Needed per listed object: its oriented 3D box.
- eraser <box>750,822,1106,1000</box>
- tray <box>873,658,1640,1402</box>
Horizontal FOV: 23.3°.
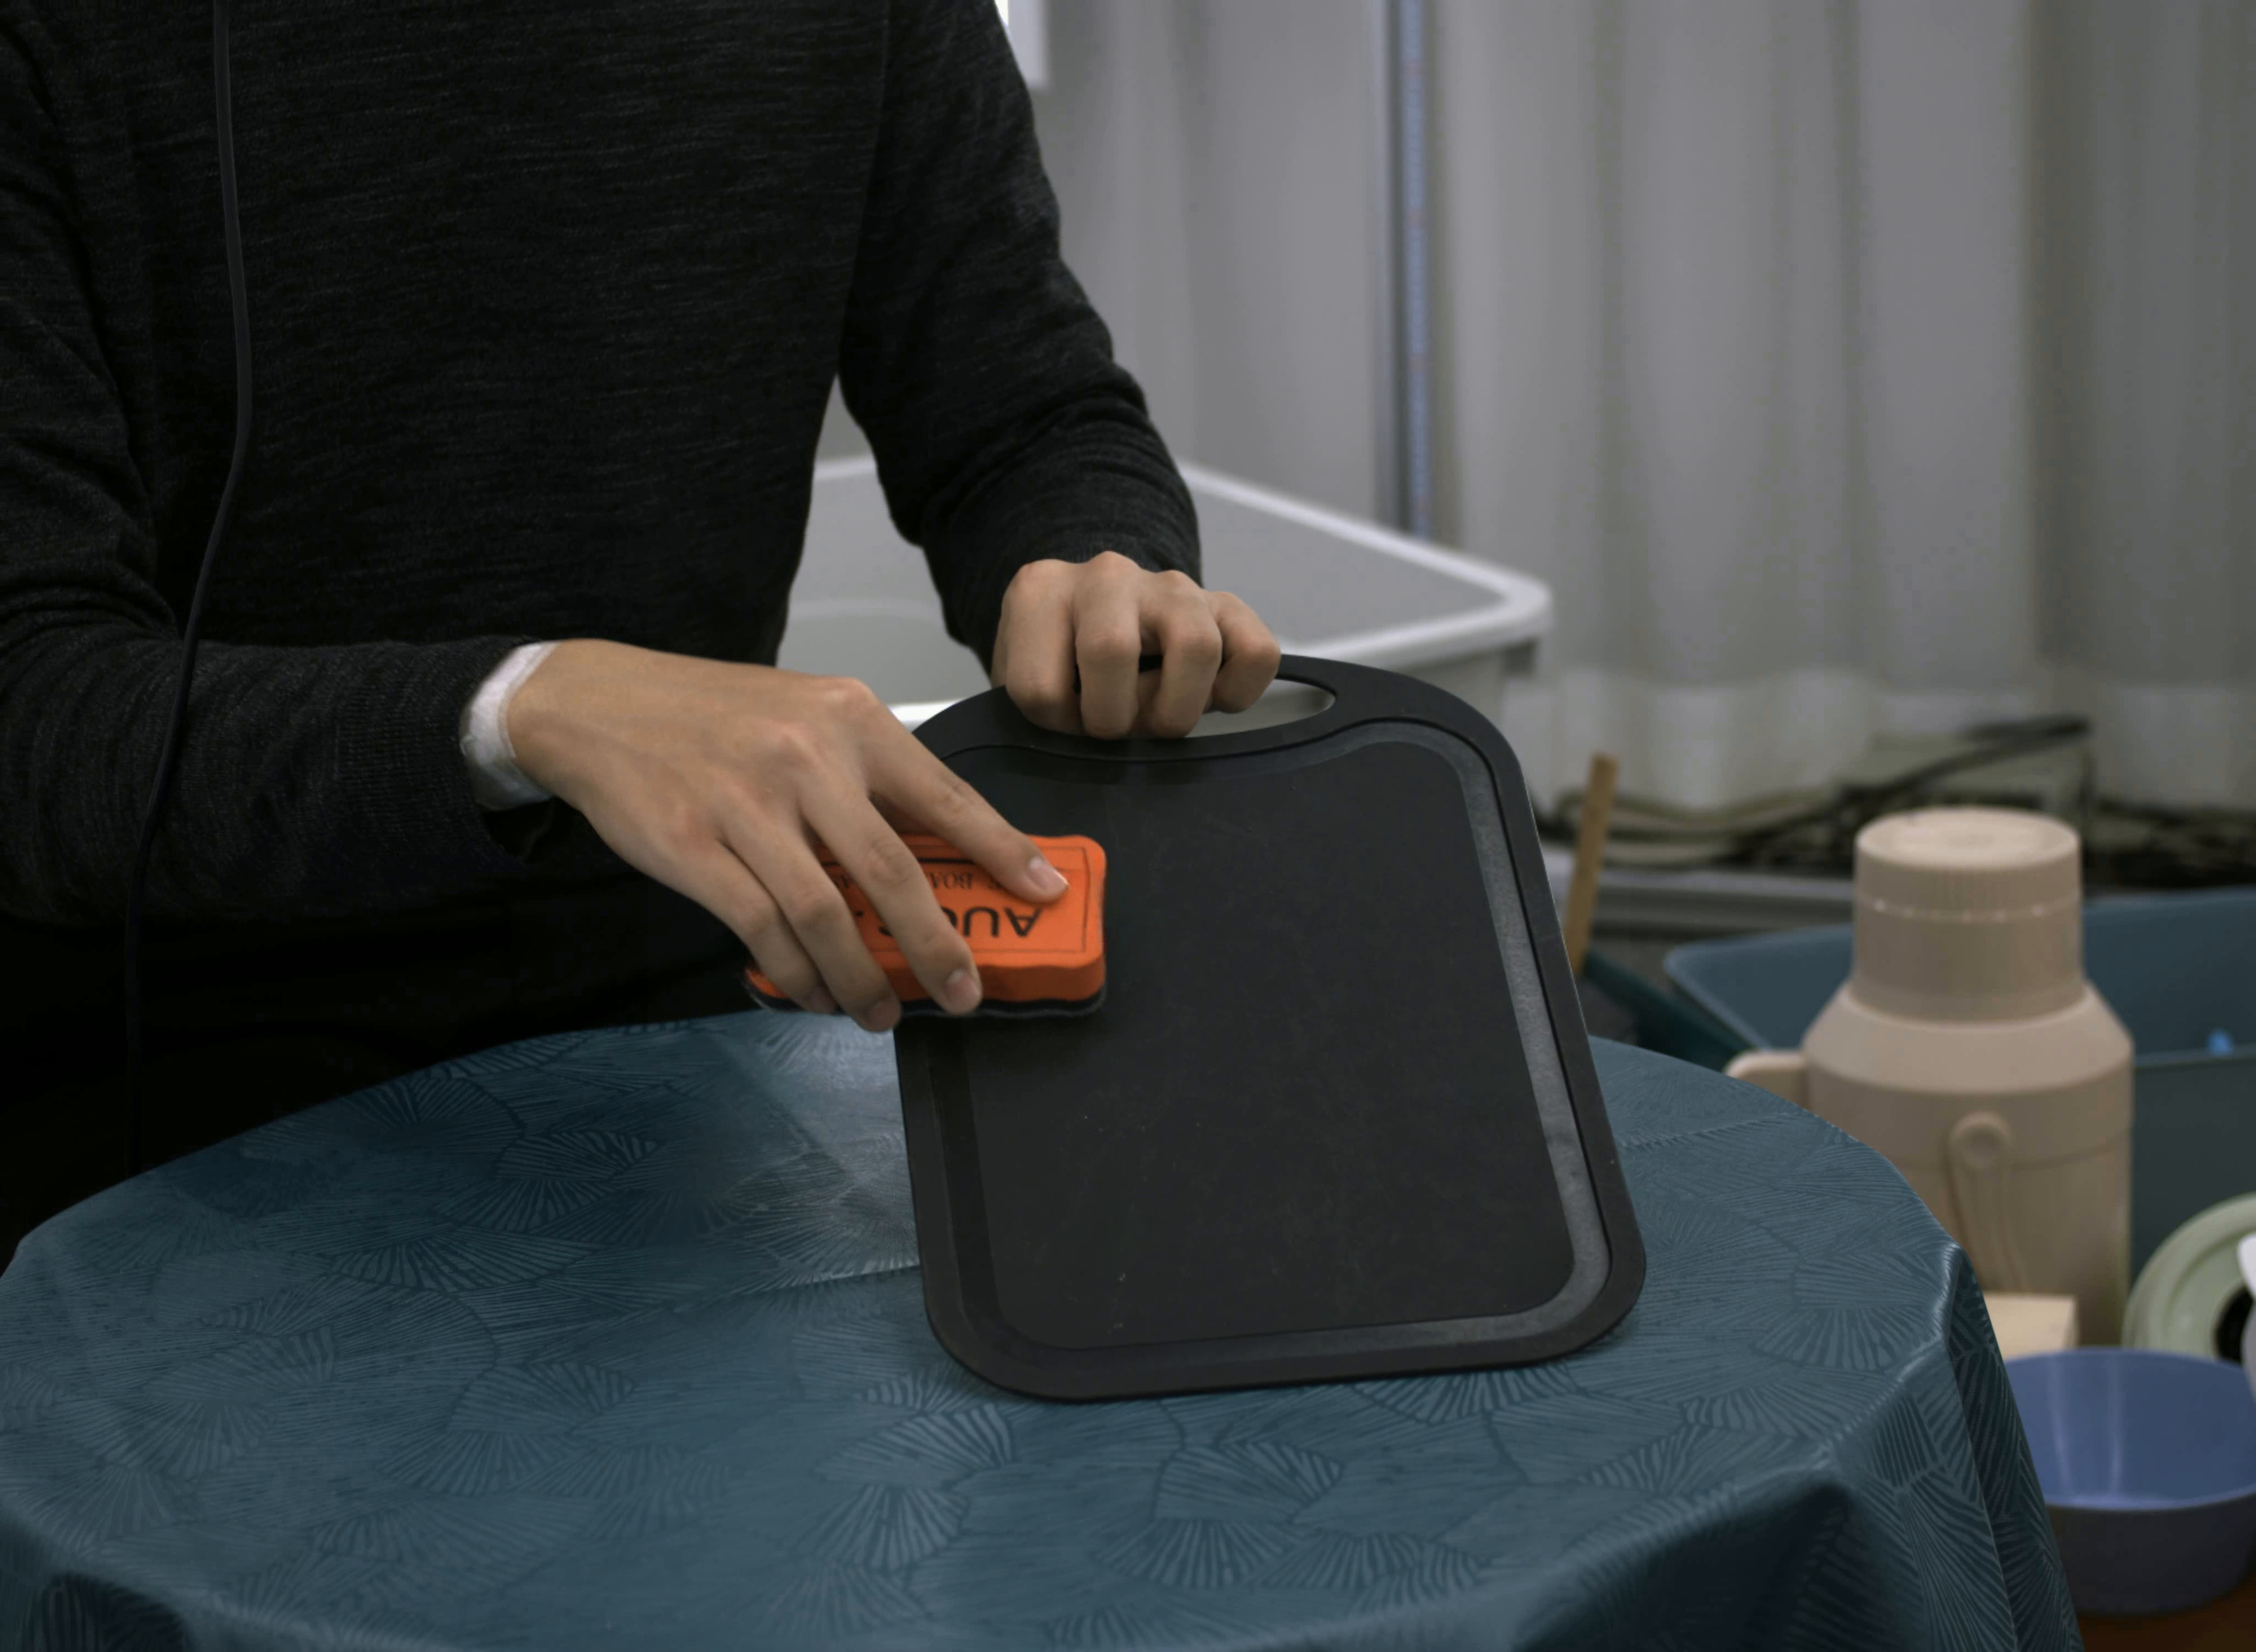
[{"bbox_3d":[-0.061,0.026,1.675,0.107,0.022,0.060,-1,39,1],"label":"eraser"},{"bbox_3d":[0.032,0.052,1.664,0.210,0.009,0.330,-3,41,-4],"label":"tray"}]
